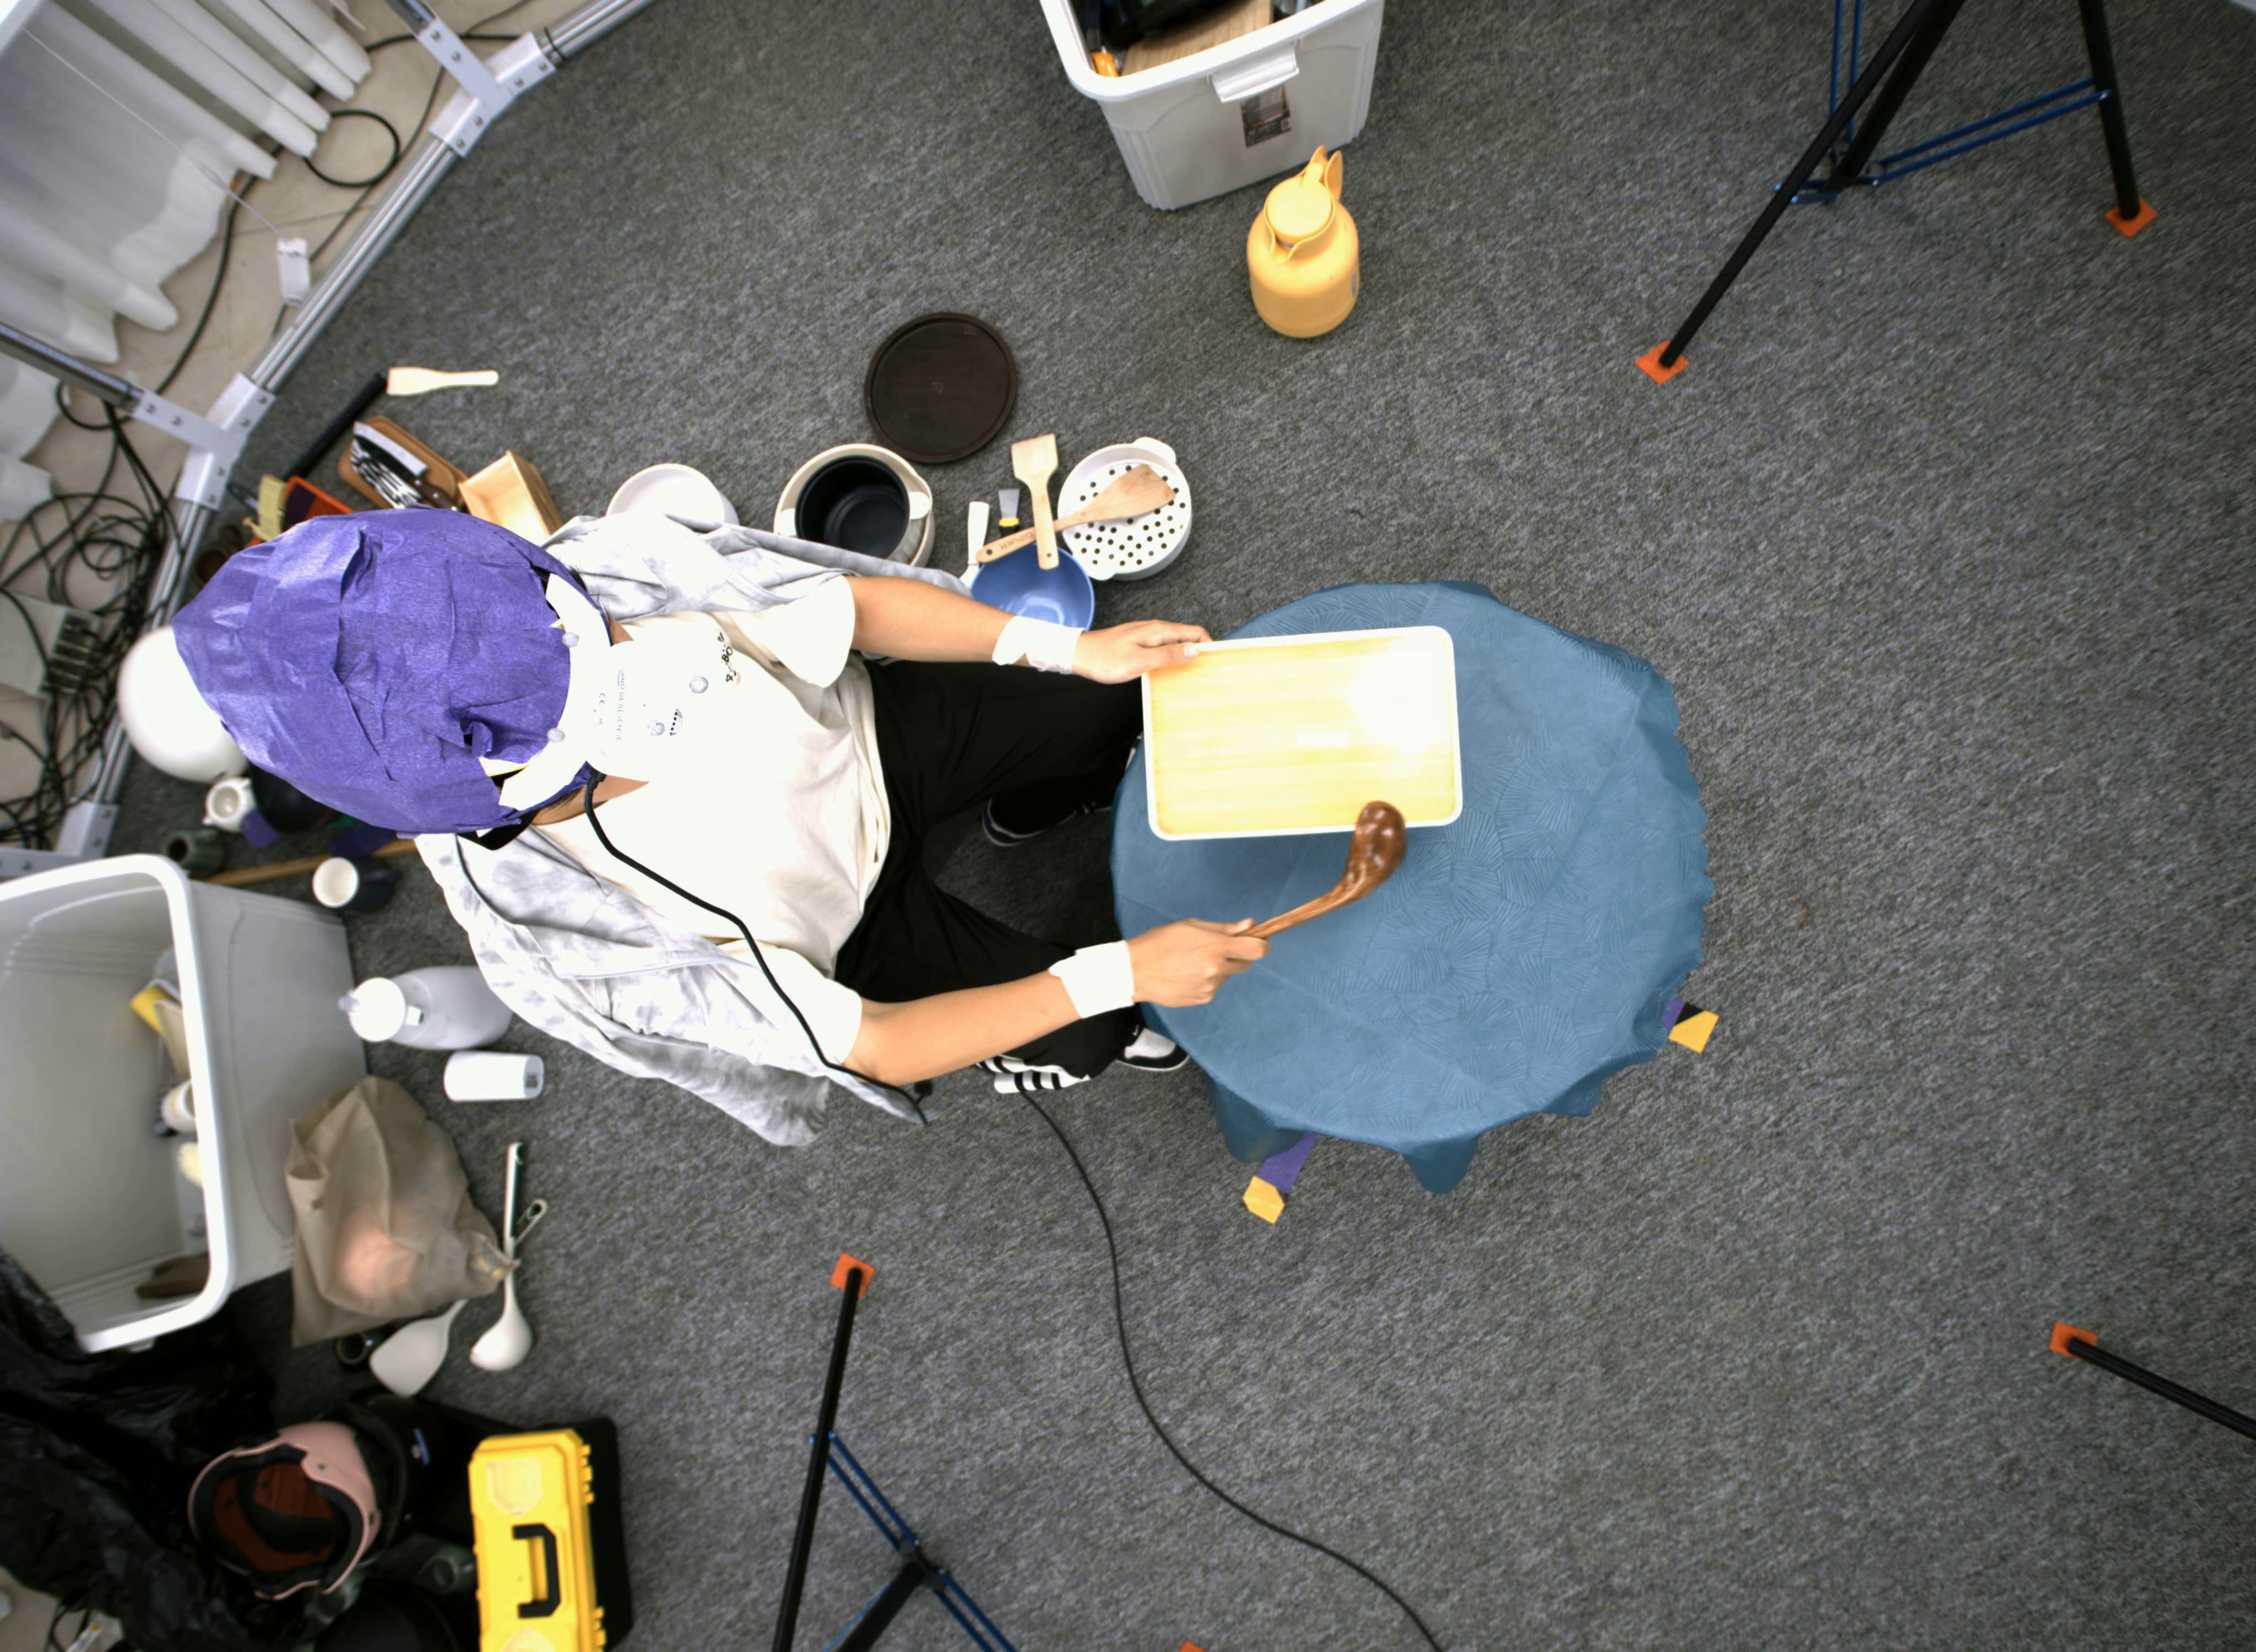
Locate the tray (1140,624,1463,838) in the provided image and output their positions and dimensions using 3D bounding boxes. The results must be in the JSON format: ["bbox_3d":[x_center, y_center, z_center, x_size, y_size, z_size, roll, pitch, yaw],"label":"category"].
[{"bbox_3d":[0.166,-0.091,1.332,0.301,0.027,0.191,-3,91,9],"label":"tray"}]

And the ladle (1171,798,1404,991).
[{"bbox_3d":[0.141,0.064,1.304,0.279,0.082,0.075,-31,59,28],"label":"ladle"}]
